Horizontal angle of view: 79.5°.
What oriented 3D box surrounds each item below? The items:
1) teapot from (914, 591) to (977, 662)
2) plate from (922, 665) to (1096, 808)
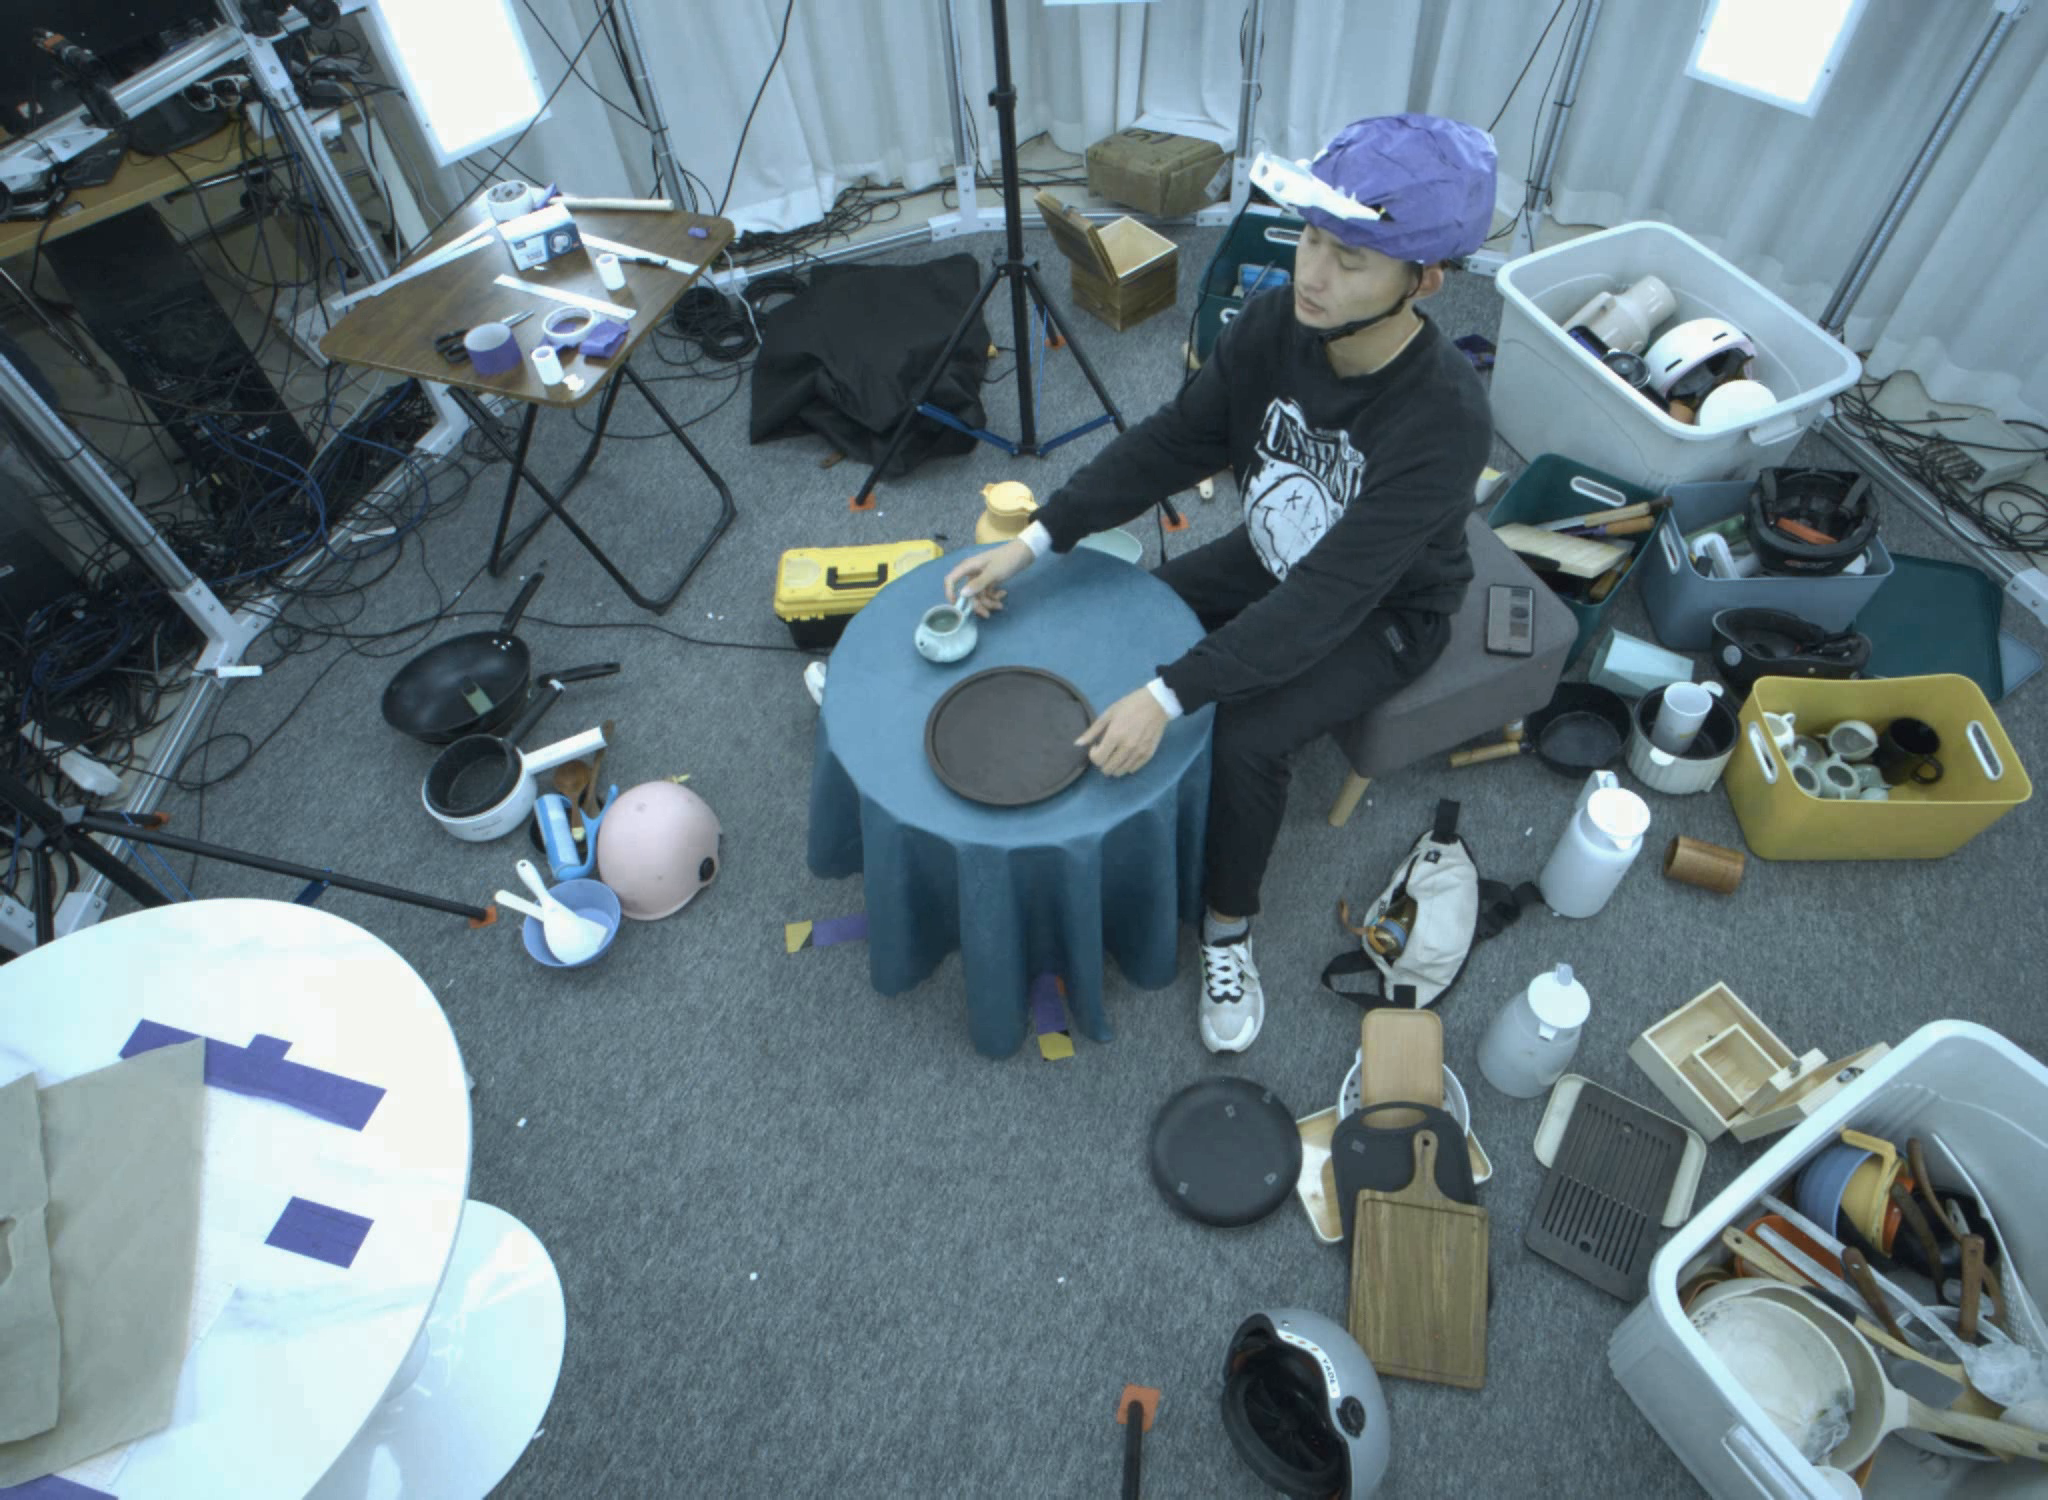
[{"bbox_3d":[-0.120,-0.186,1.883,0.095,0.062,0.137,23,59,19],"label":"teapot"},{"bbox_3d":[-0.021,-0.021,1.784,0.254,0.029,0.252,-1,54,3],"label":"plate"}]
